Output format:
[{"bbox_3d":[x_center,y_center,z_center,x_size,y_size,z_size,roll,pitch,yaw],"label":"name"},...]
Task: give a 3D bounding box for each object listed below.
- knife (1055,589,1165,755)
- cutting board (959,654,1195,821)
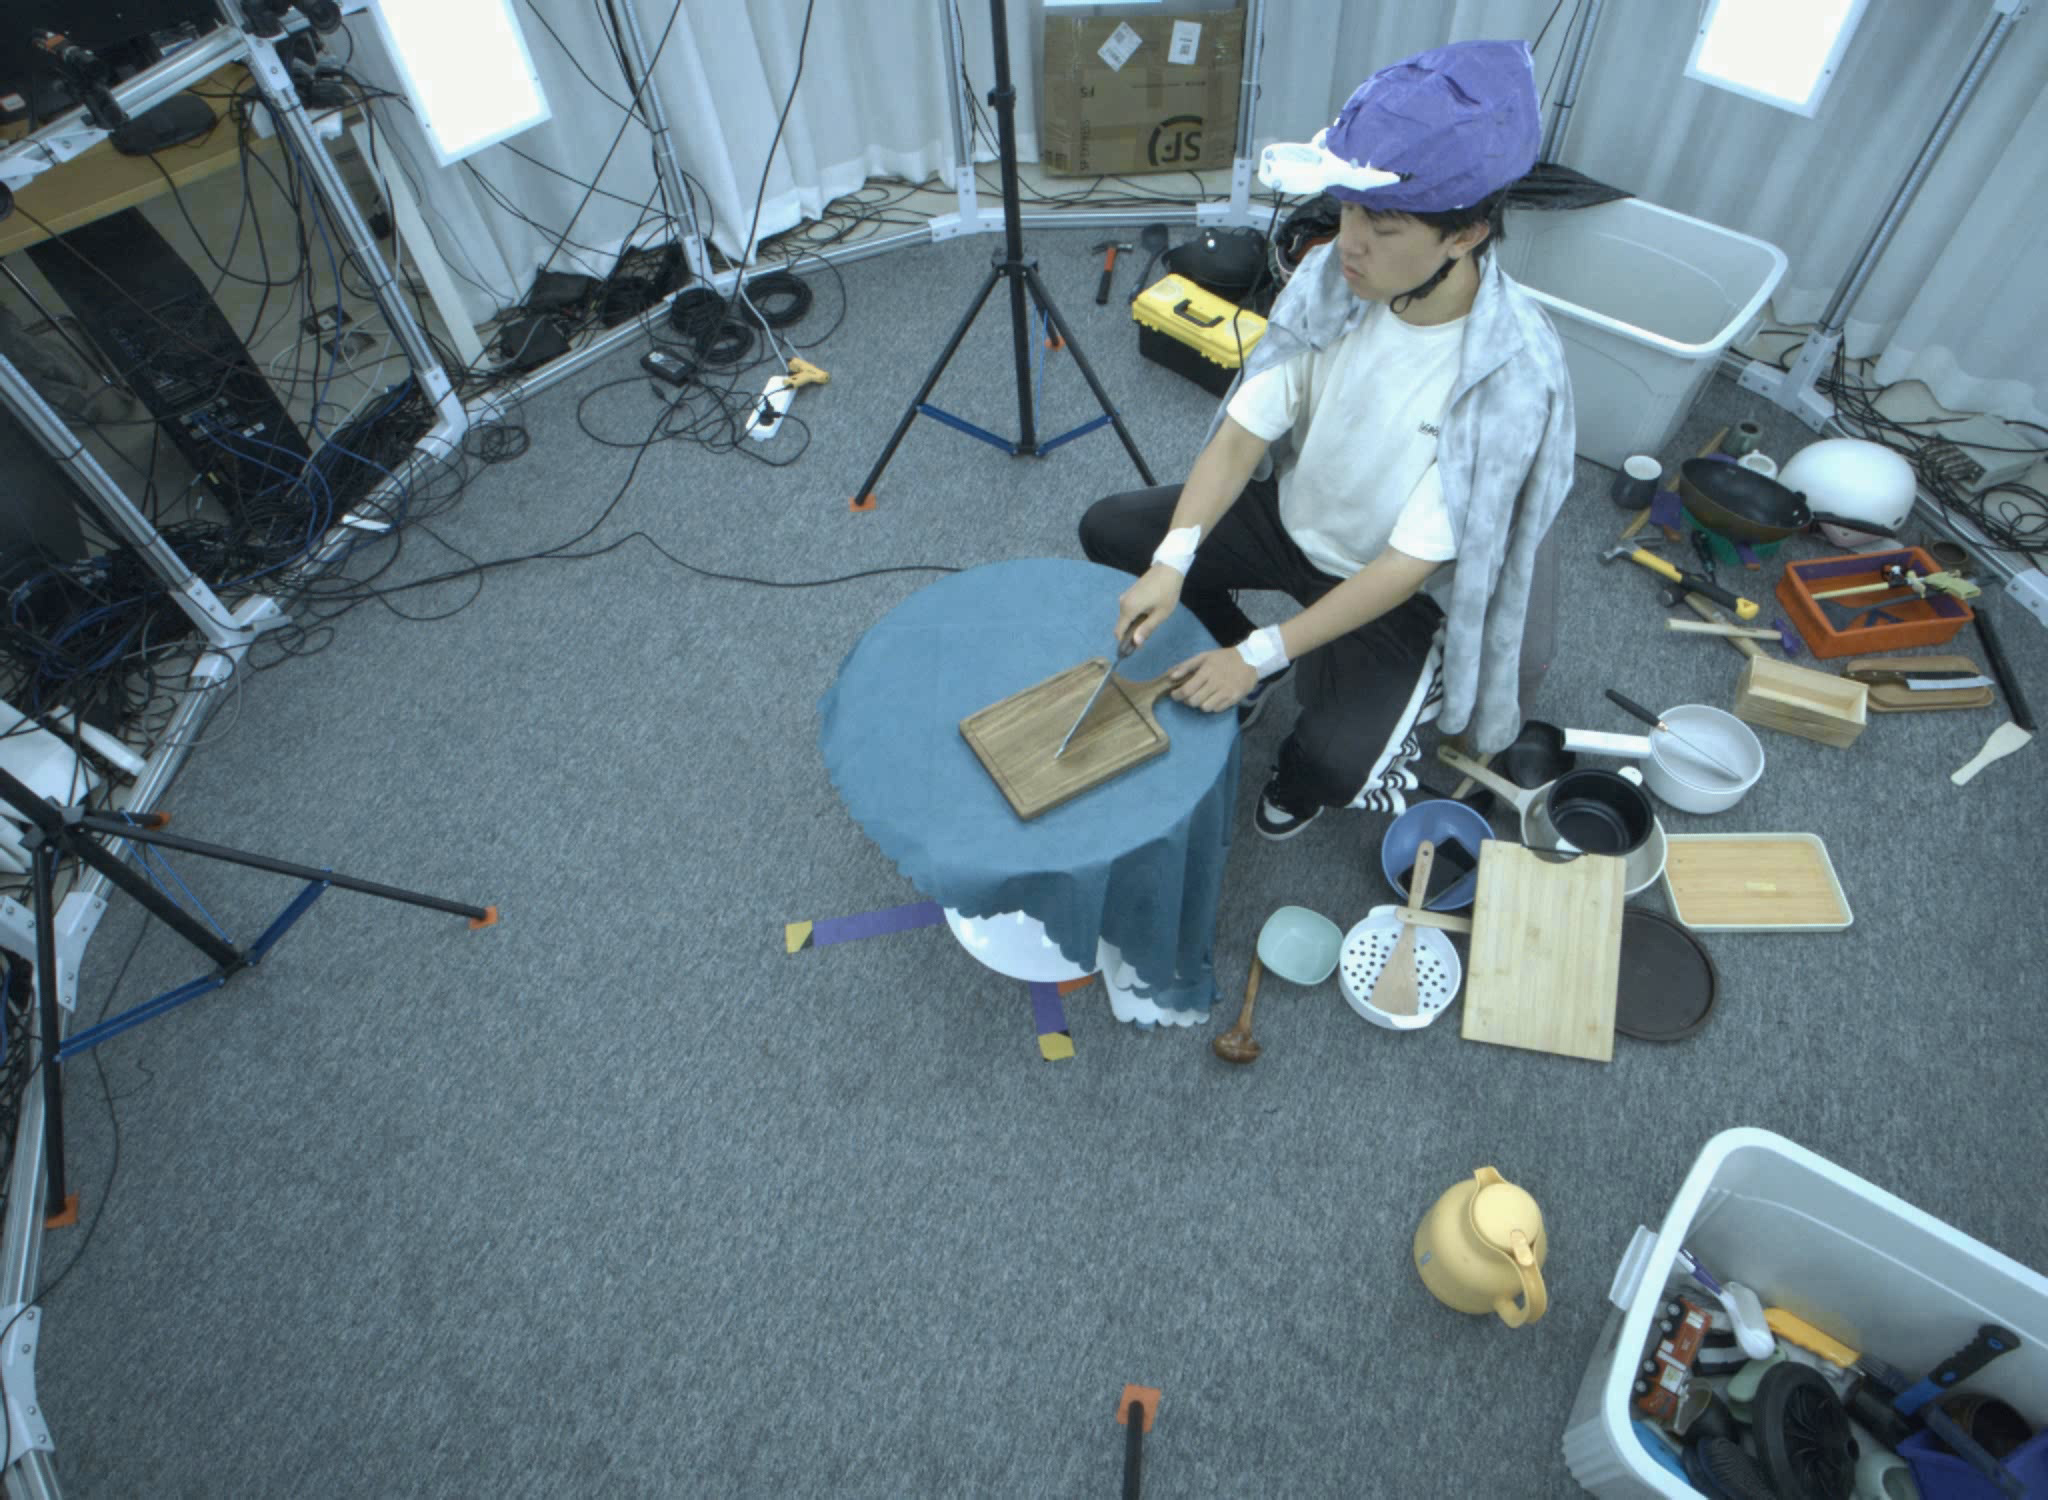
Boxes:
[{"bbox_3d":[0.124,-0.115,1.797,0.024,0.068,0.300,34,67,-3],"label":"knife"},{"bbox_3d":[0.102,-0.045,1.805,0.355,0.023,0.197,-26,58,-16],"label":"cutting board"}]
